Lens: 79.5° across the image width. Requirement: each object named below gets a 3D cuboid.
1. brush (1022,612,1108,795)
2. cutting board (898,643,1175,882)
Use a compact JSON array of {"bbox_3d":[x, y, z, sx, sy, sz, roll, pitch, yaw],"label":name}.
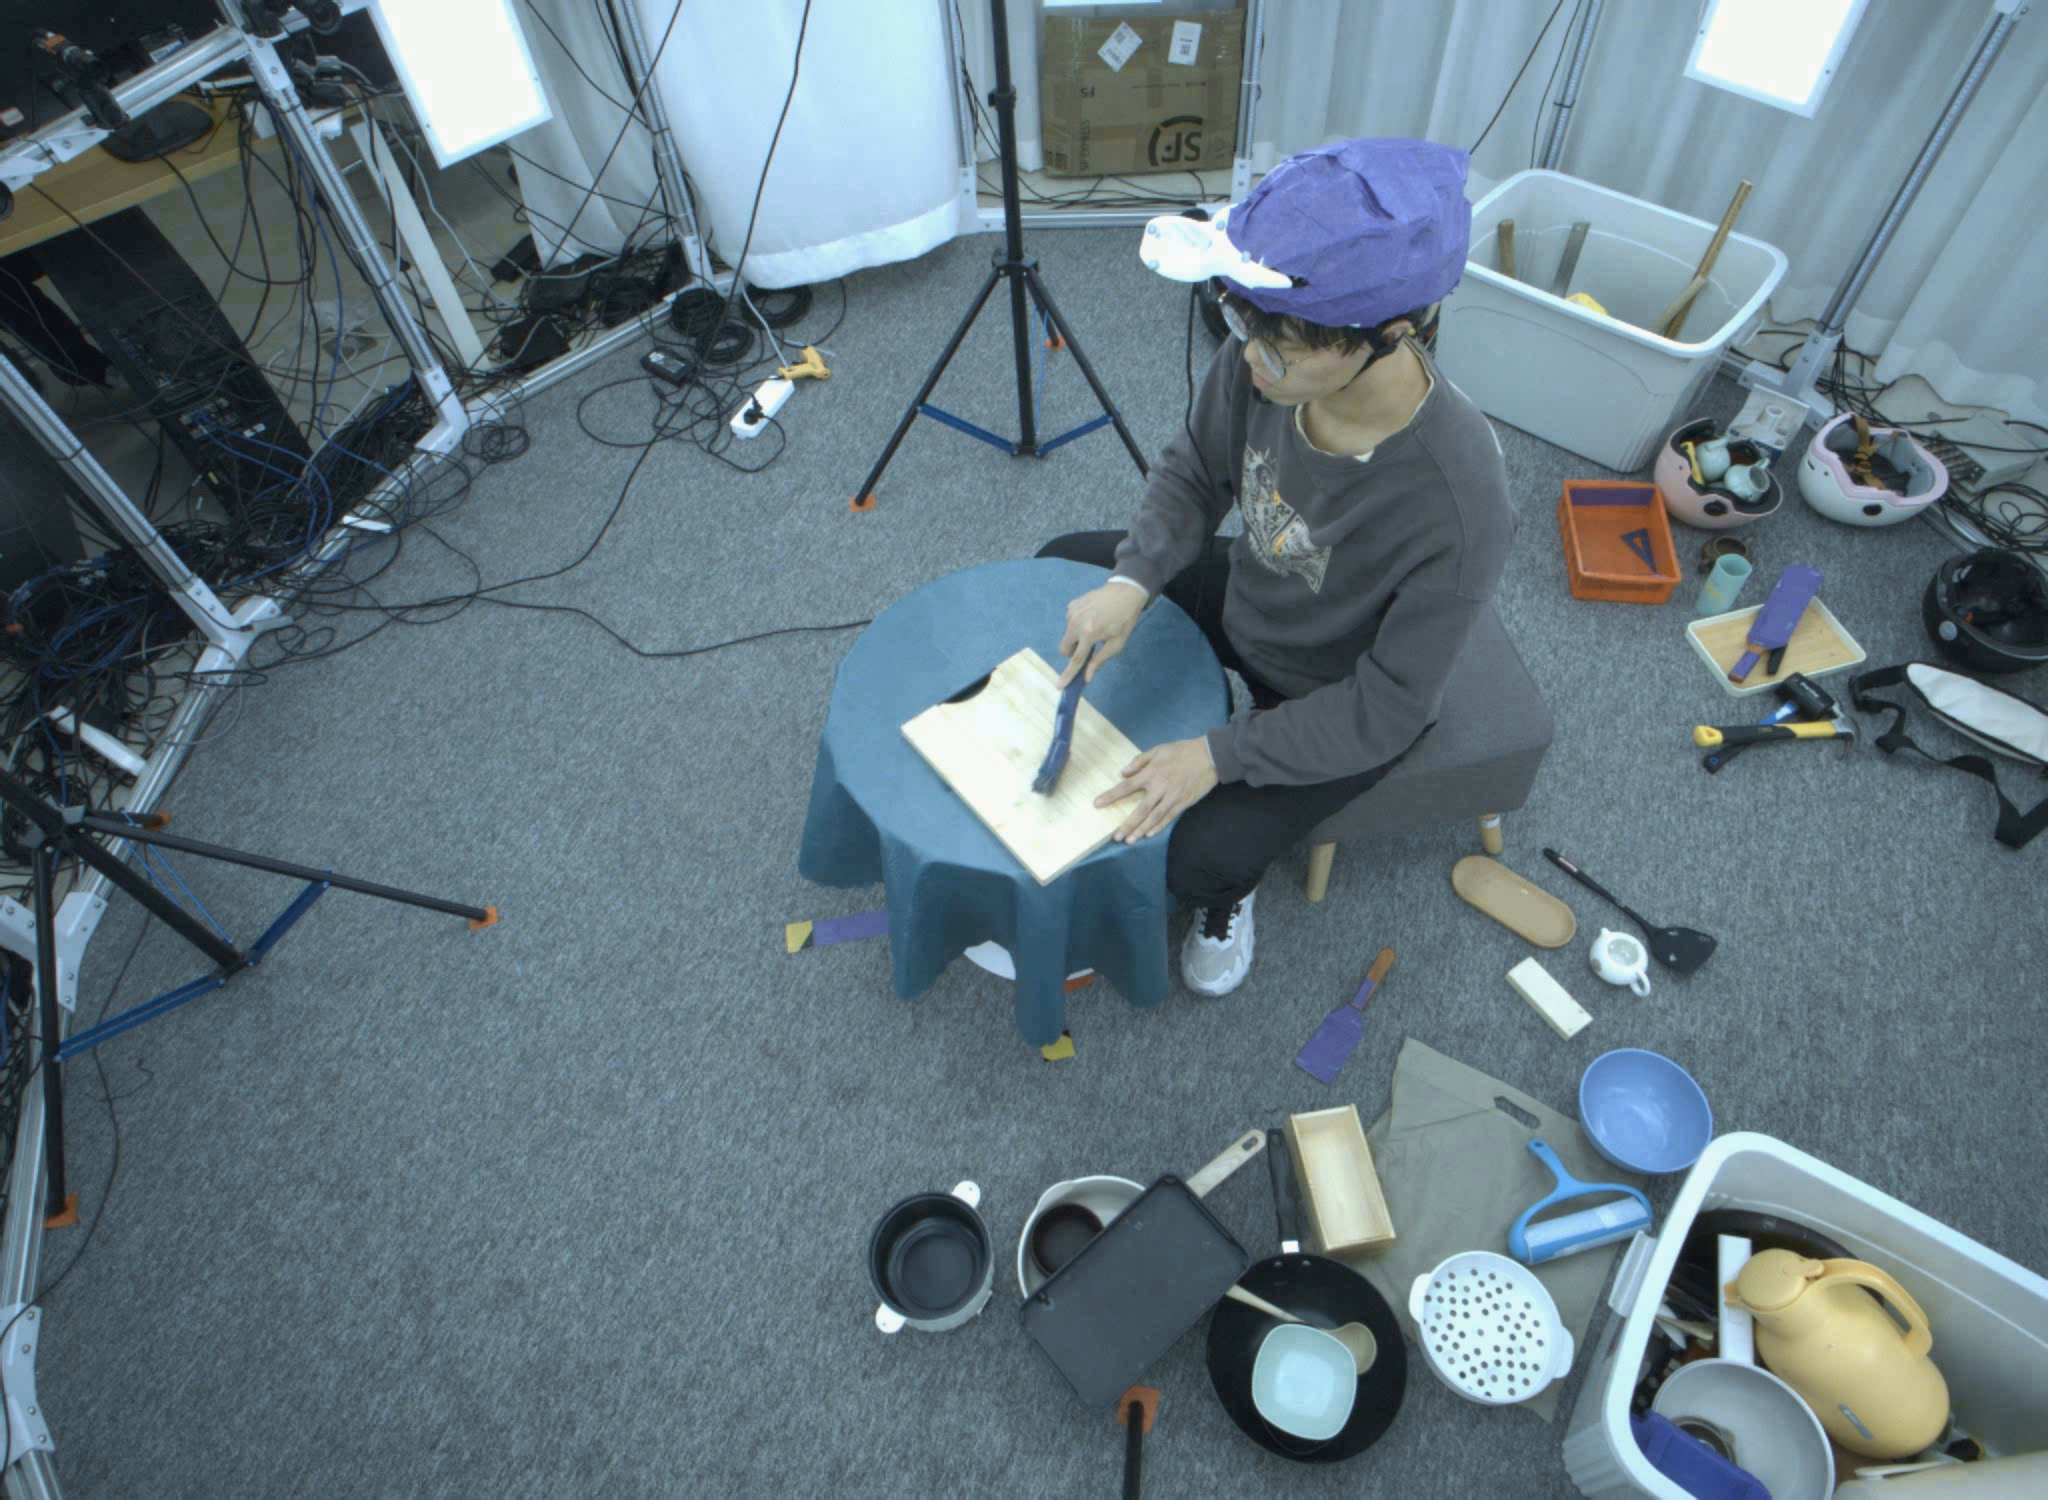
[{"bbox_3d":[0.060,-0.070,1.706,0.033,0.097,0.273,12,83,24],"label":"brush"},{"bbox_3d":[0.013,0.009,1.768,0.253,0.024,0.342,-34,60,-21],"label":"cutting board"}]
